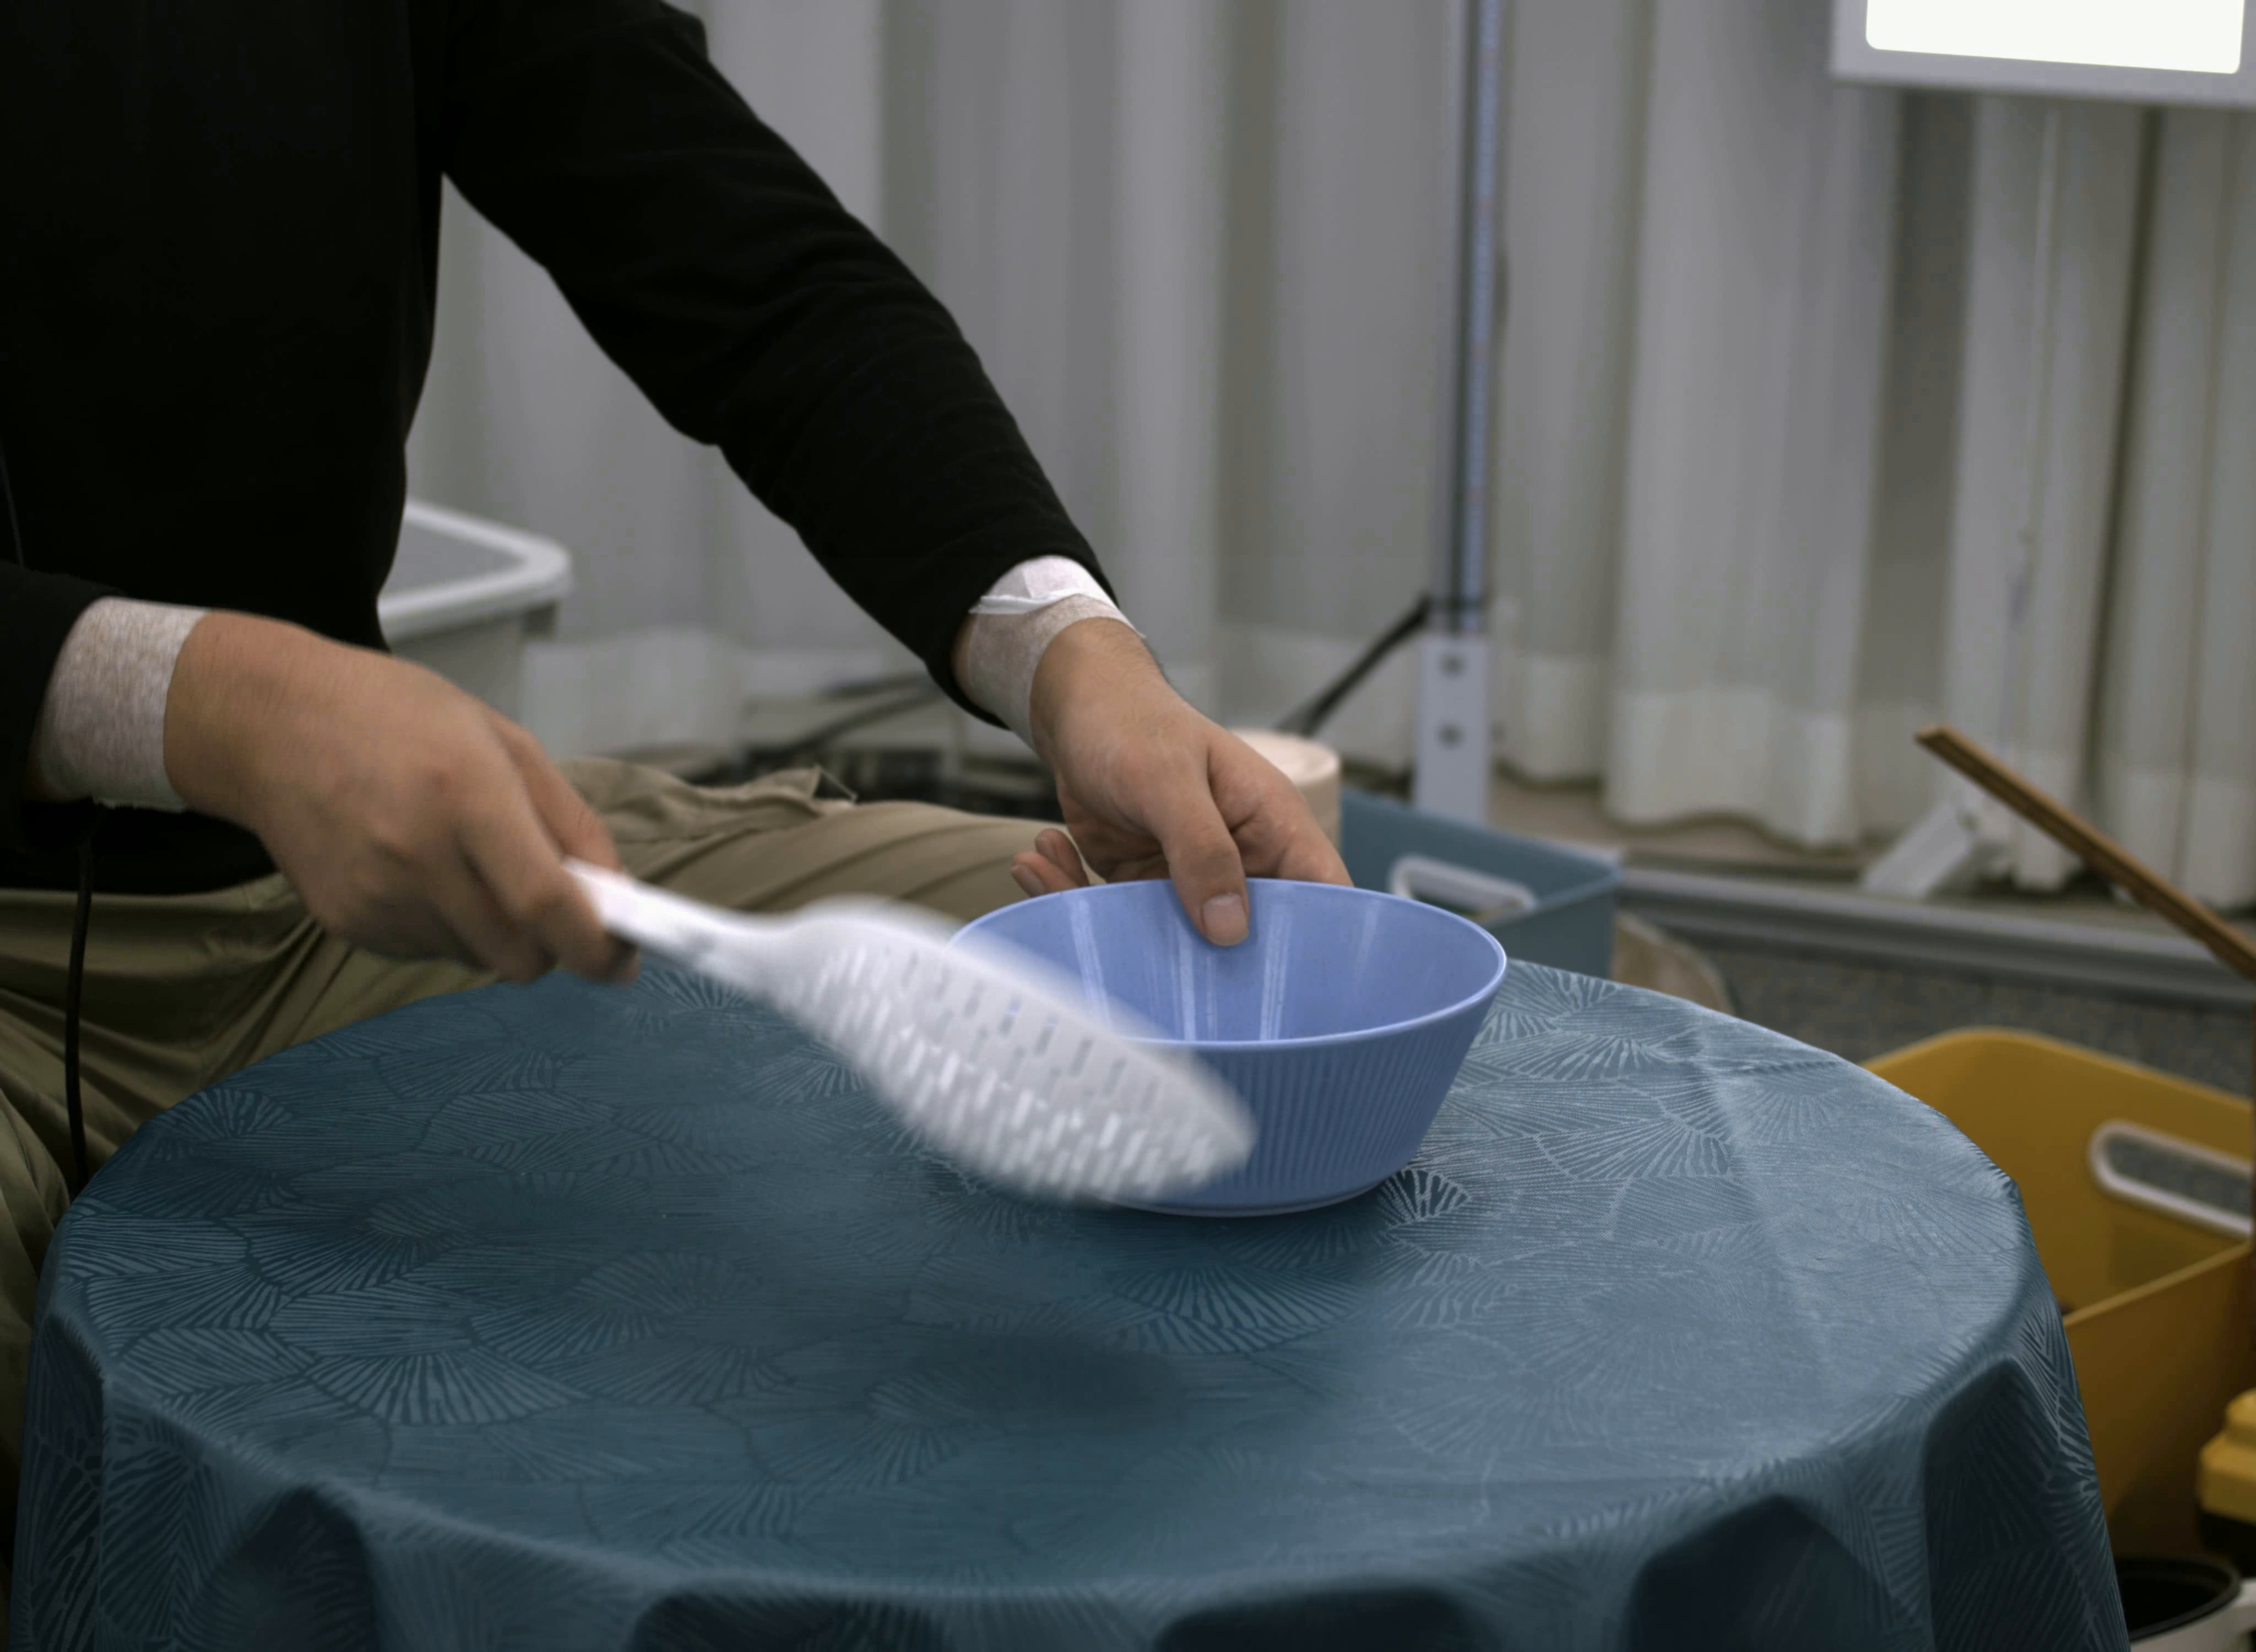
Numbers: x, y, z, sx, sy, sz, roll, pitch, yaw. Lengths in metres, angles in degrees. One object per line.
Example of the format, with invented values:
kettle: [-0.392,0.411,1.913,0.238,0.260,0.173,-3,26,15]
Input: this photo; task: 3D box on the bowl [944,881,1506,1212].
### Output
bowl: [0.030,0.071,1.640,0.175,0.071,0.175,1,15,0]

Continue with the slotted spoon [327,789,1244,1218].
slotted spoon: [-0.111,0.042,1.511,0.345,0.046,0.138,25,-13,39]
